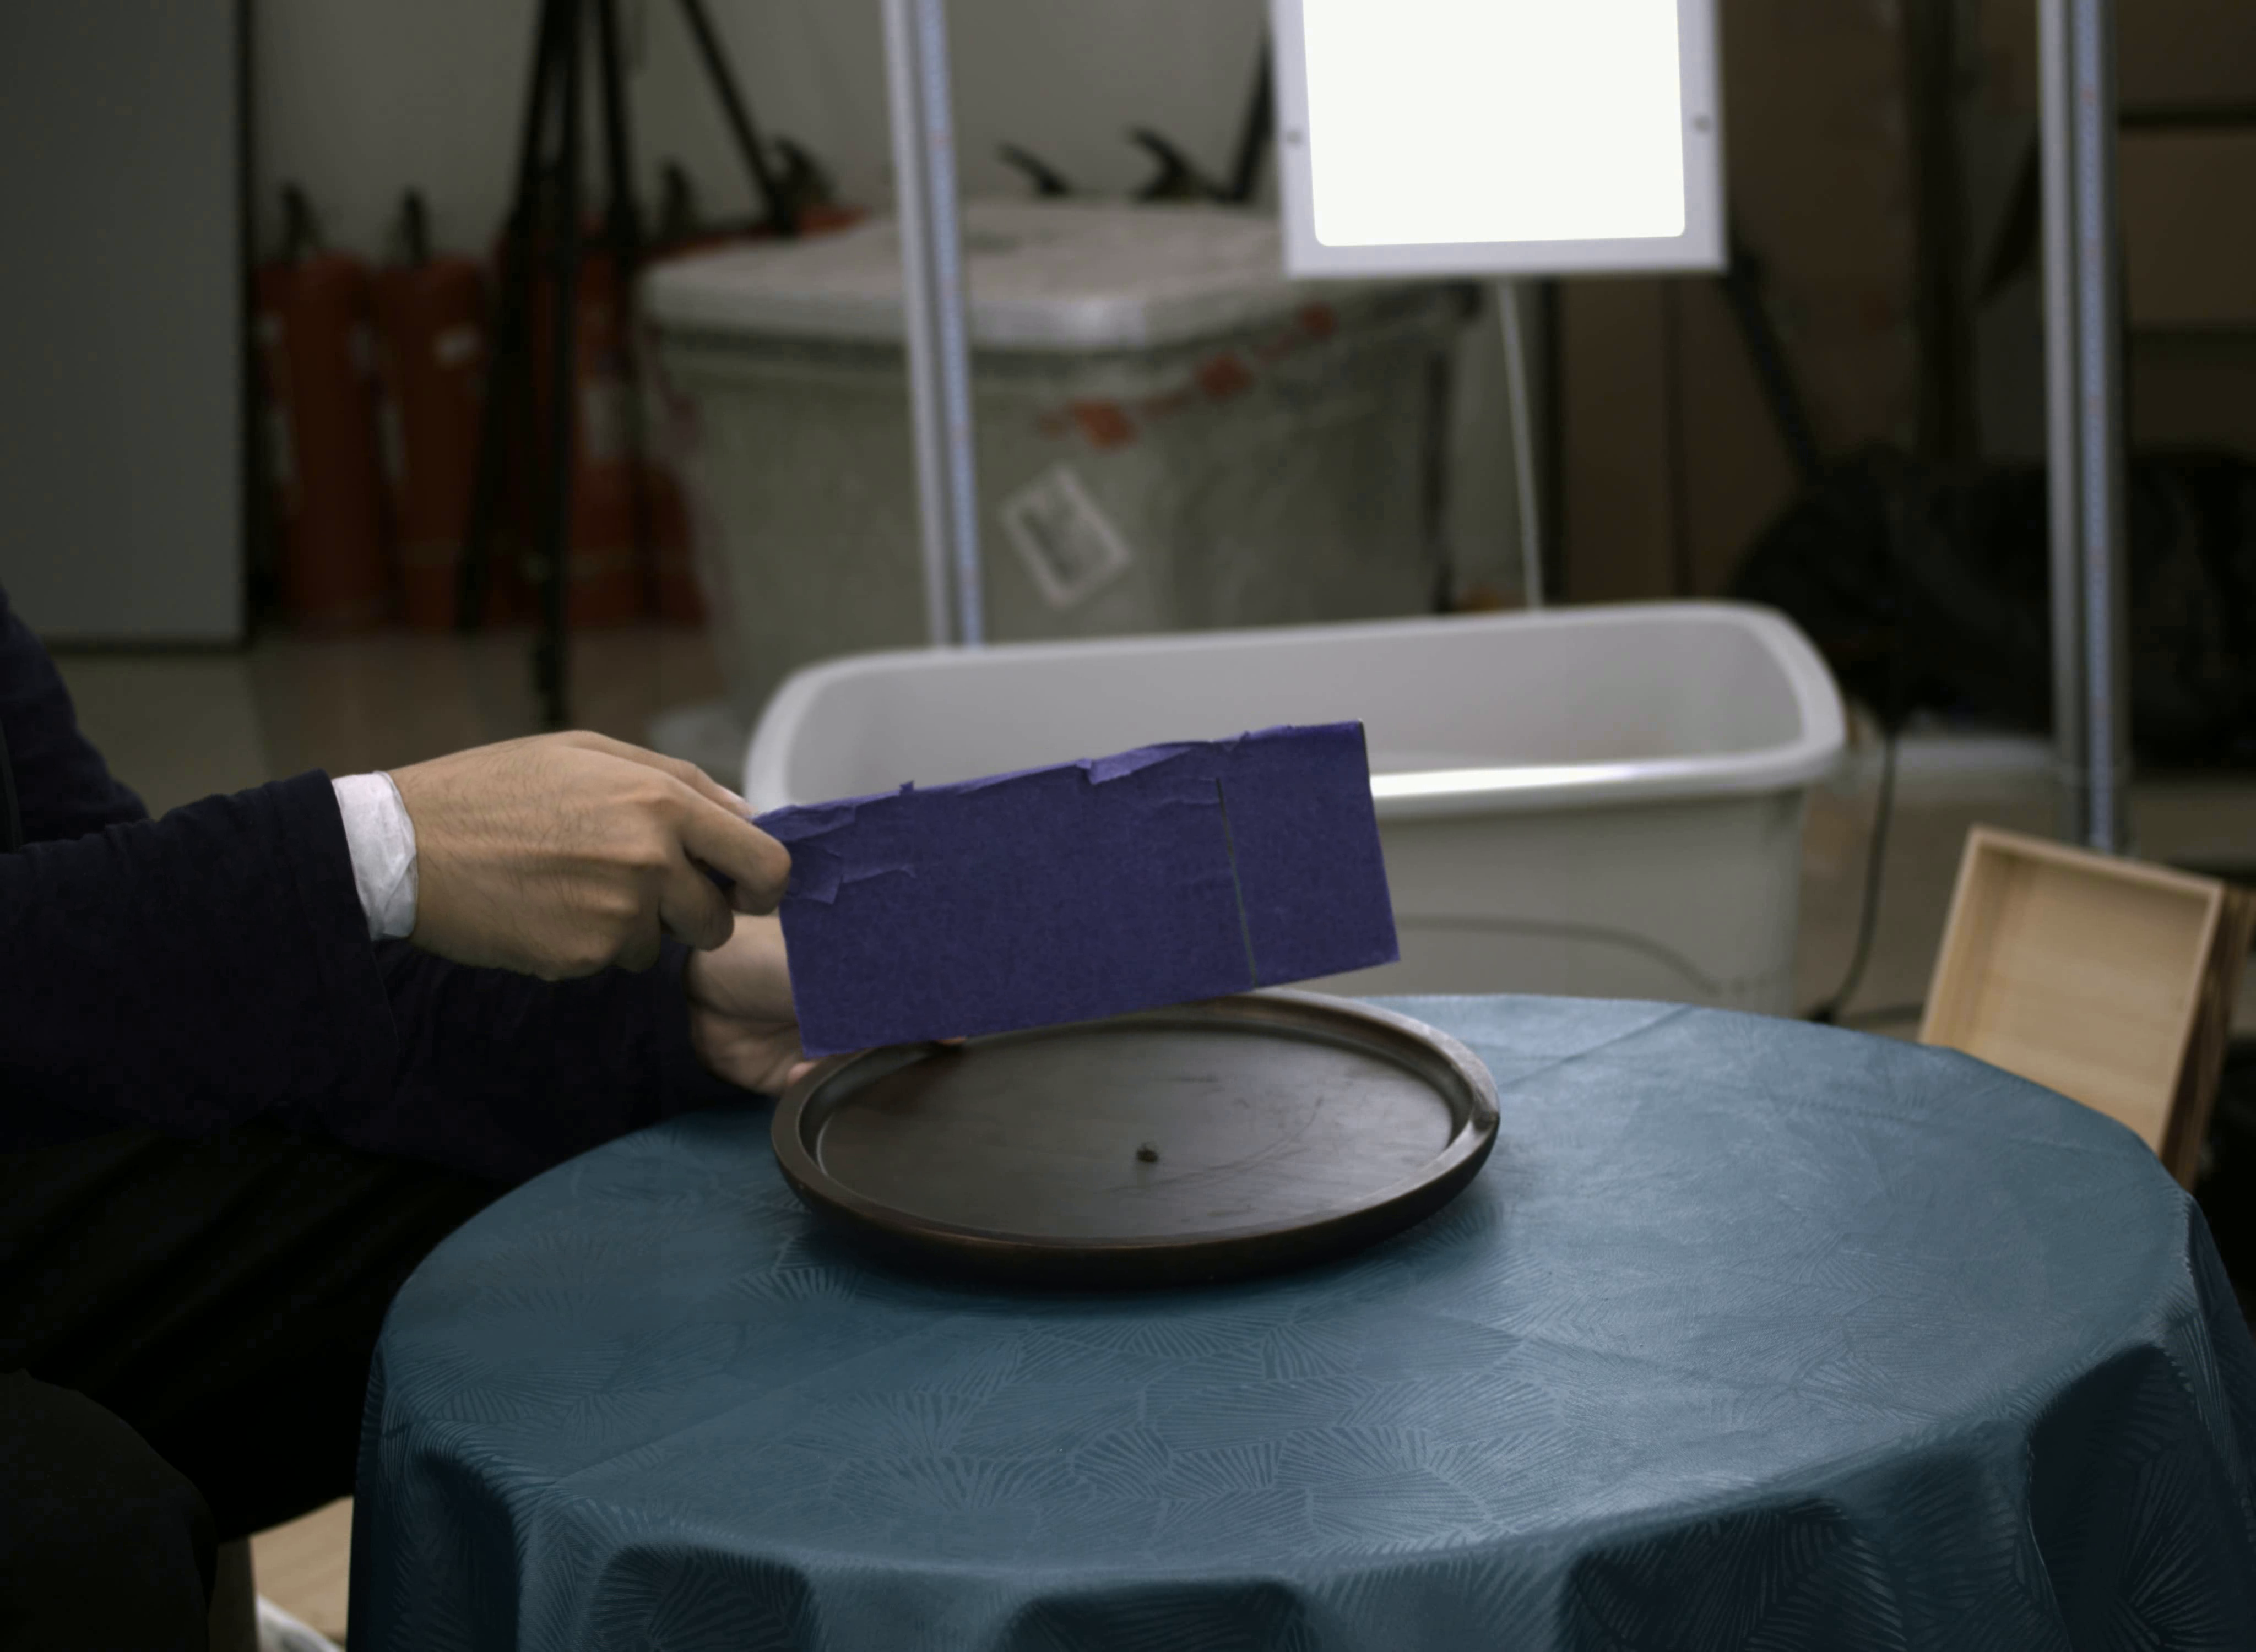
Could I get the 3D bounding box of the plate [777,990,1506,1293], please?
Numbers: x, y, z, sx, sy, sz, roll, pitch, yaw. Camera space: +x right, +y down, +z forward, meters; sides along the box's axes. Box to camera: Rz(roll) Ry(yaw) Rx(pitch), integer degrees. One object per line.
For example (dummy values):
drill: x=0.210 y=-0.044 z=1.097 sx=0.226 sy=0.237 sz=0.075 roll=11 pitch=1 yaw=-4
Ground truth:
plate: x=0.005 y=0.106 z=1.898 sx=0.254 sy=0.029 sz=0.254 roll=-2 pitch=18 yaw=-1

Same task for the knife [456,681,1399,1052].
knife: x=-0.066 y=0.027 z=1.864 sx=0.315 sy=0.104 sz=0.032 roll=-10 pitch=15 yaw=2
